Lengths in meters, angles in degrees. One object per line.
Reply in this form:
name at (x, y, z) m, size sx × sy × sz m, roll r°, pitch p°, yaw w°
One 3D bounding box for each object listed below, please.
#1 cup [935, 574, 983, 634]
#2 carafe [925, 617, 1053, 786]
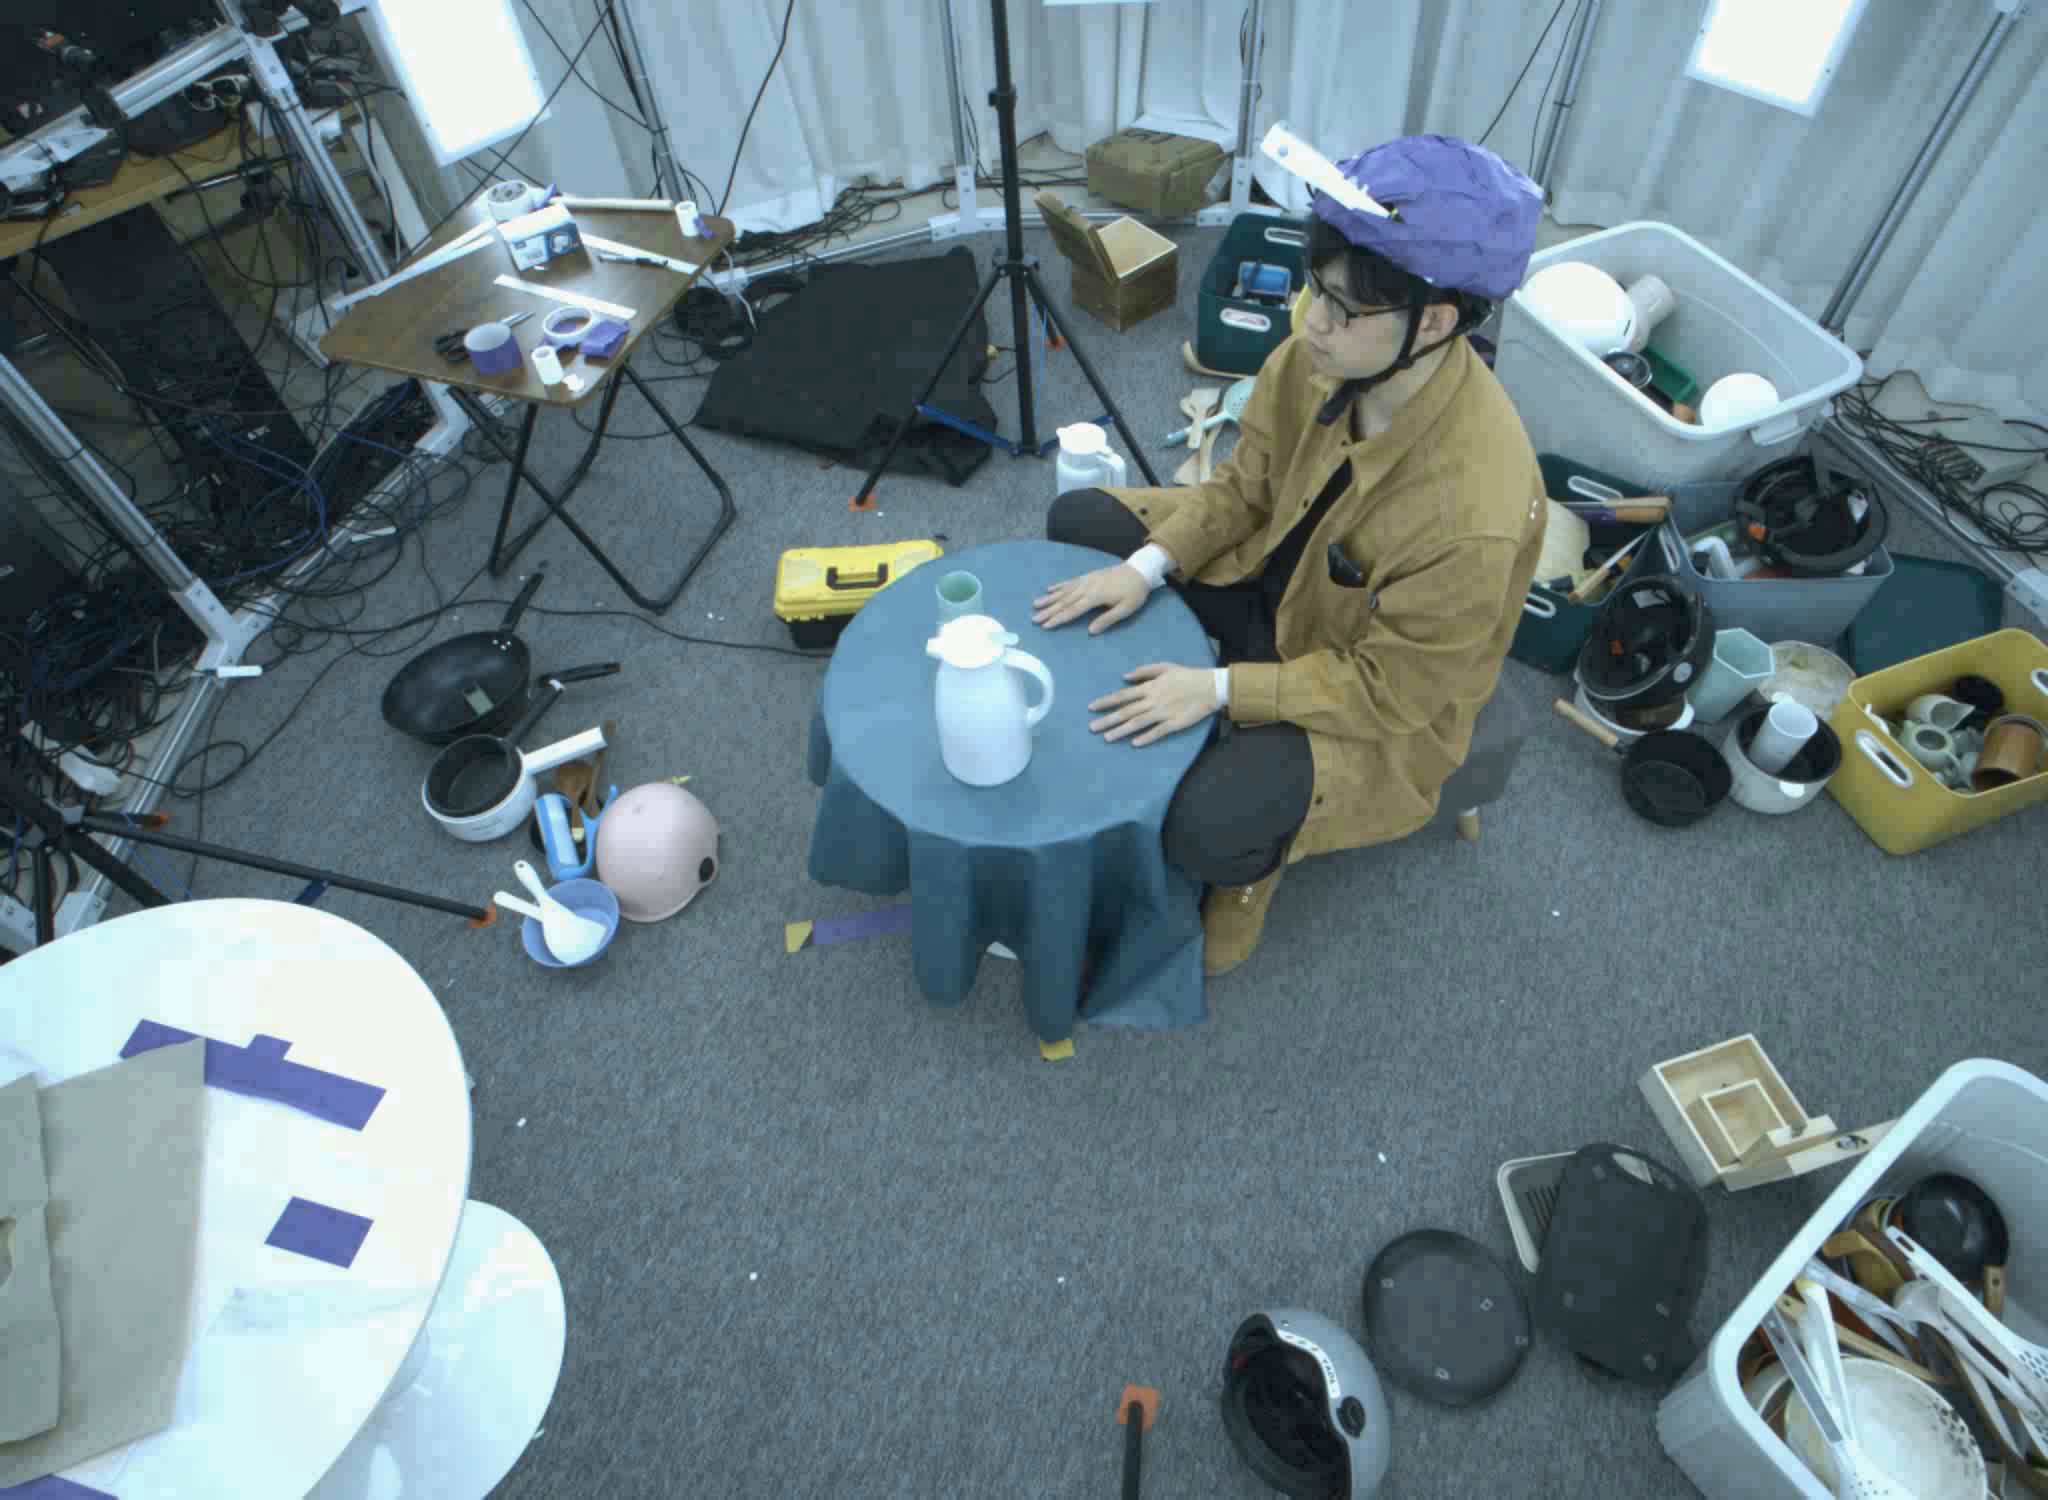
cup at (-0.094, -0.198, 1.852) m, size 0.066 × 0.134 × 0.066 m, roll -1°, pitch 55°, yaw 3°
carafe at (-0.043, -0.071, 1.684) m, size 0.167 × 0.251 × 0.131 m, roll 5°, pitch 56°, yaw 6°
